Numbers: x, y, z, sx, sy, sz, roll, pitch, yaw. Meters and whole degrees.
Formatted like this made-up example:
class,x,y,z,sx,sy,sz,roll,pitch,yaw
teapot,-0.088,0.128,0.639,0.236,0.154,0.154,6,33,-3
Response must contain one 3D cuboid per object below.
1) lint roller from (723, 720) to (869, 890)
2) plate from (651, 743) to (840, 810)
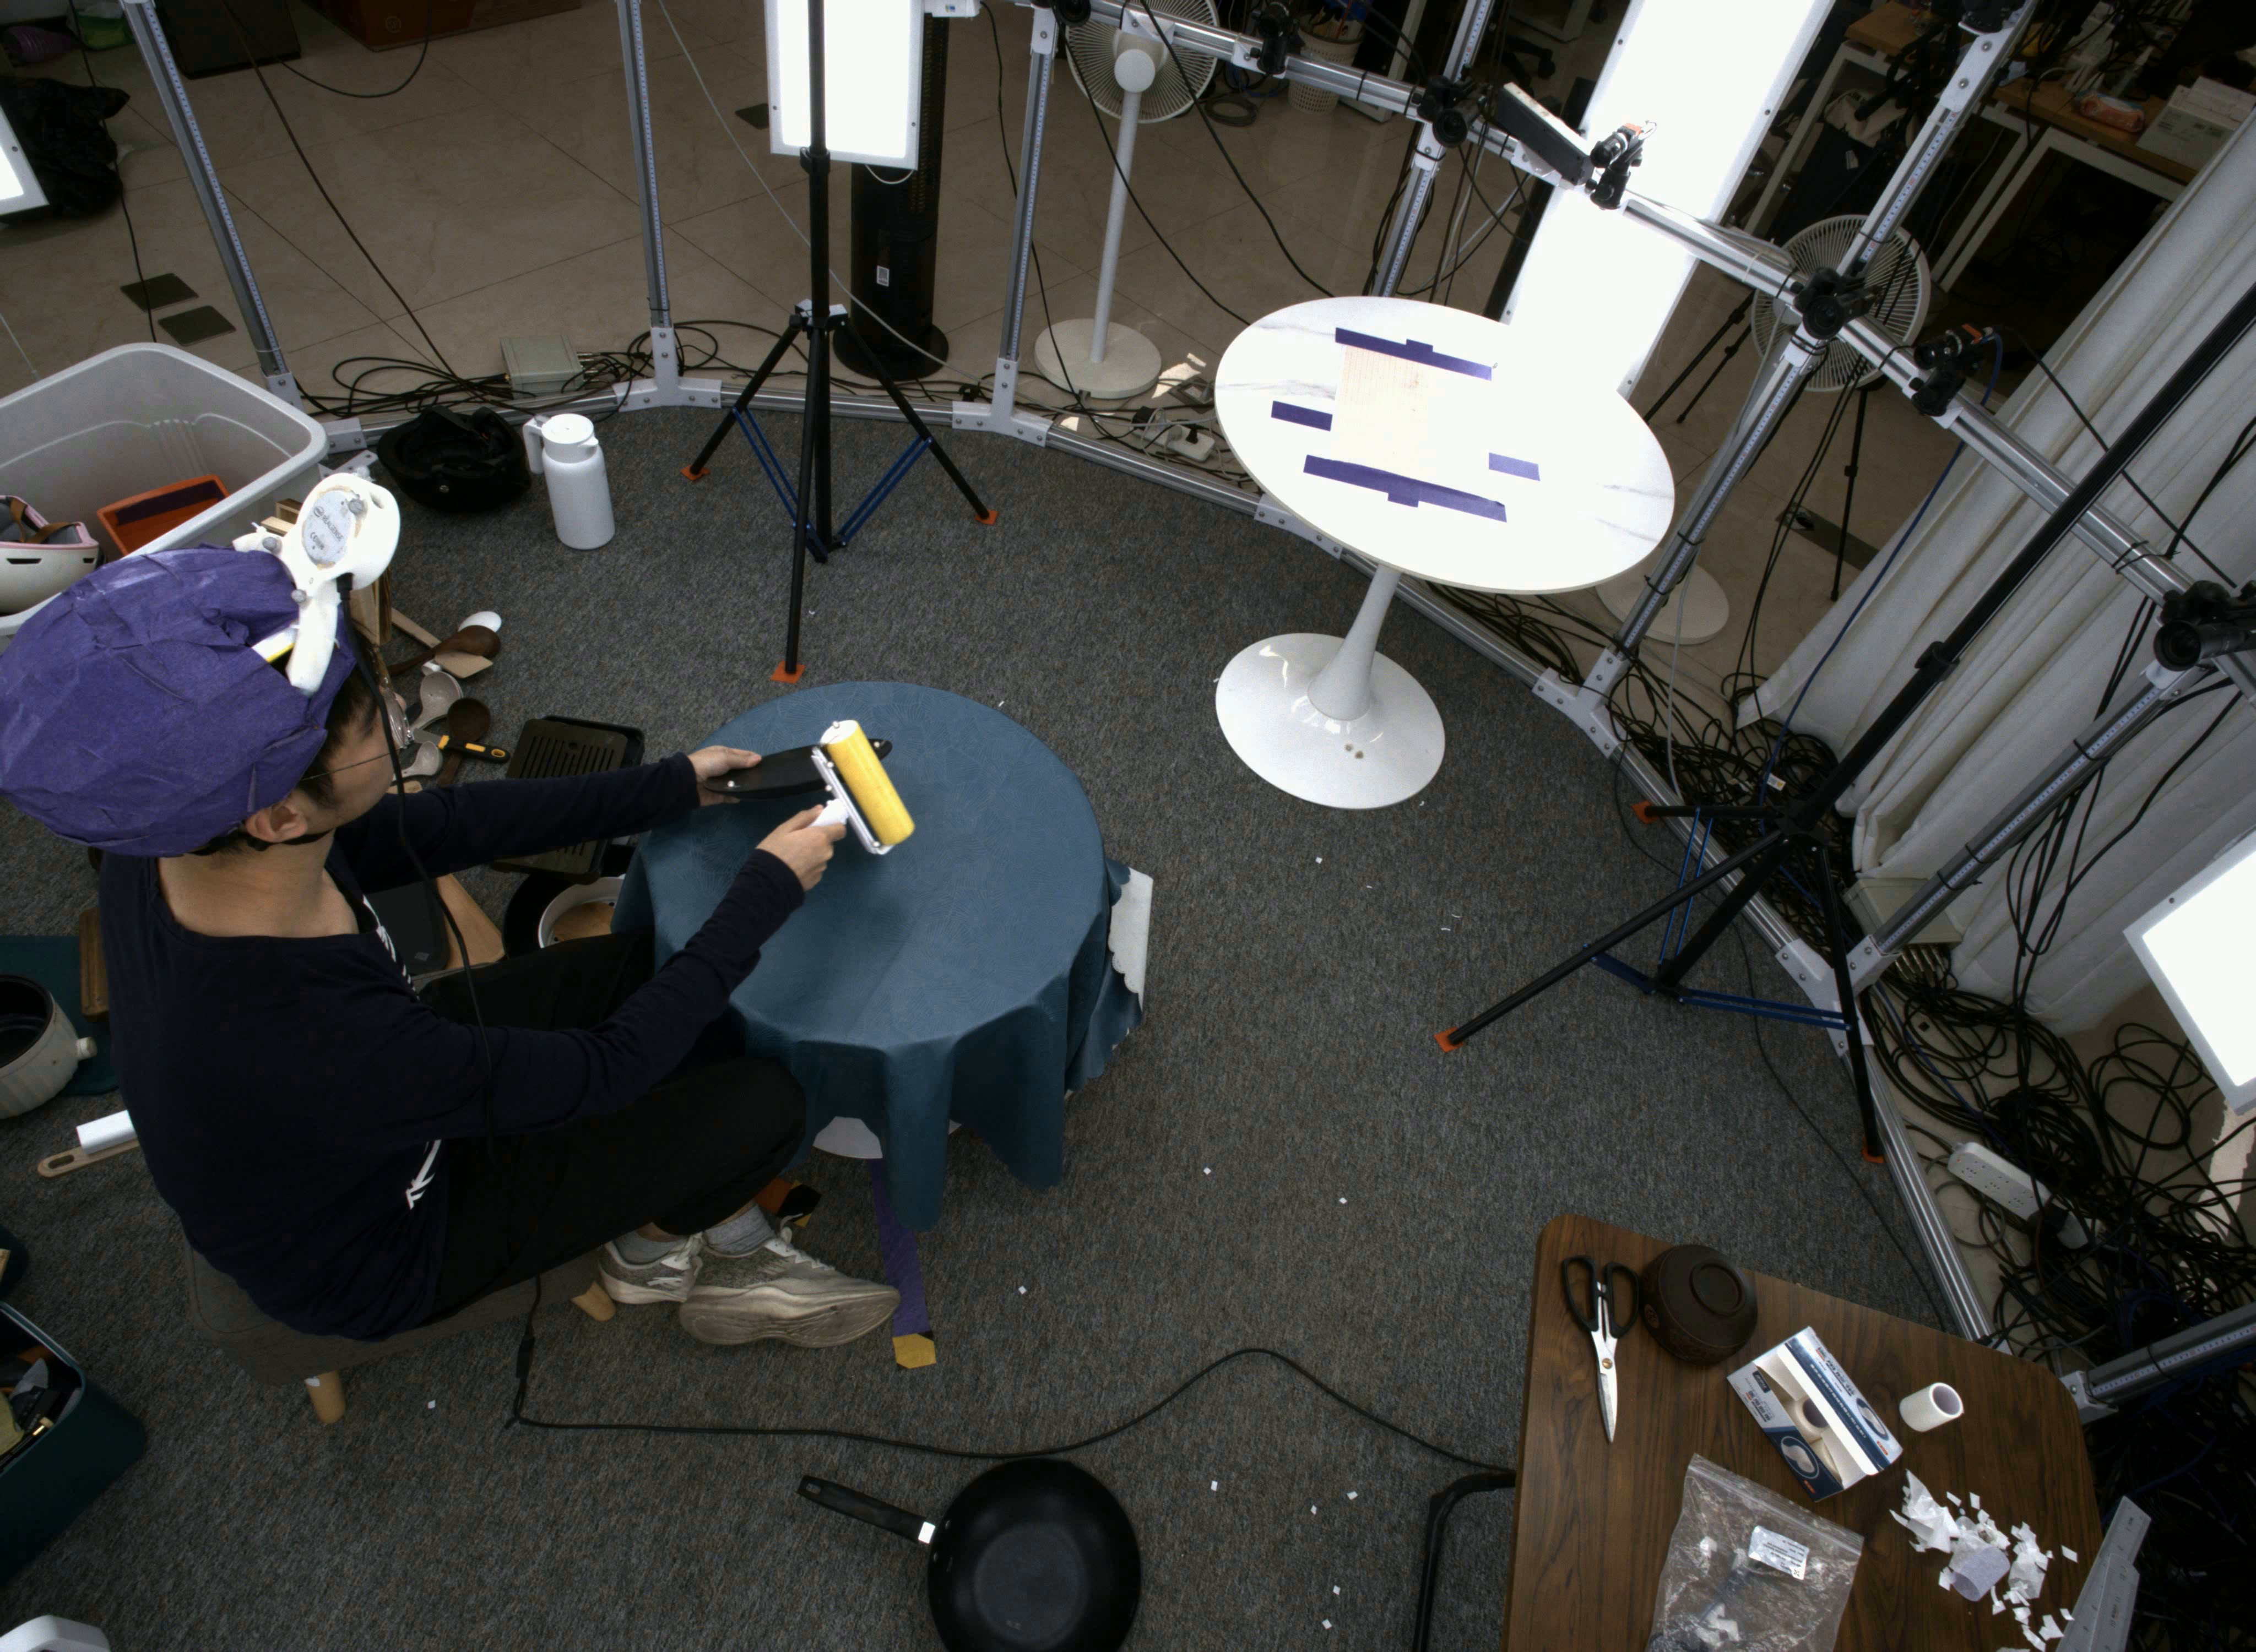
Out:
class,x,y,z,sx,sy,sz,roll,pitch,yaw
lint roller,-0.404,0.000,1.524,0.050,0.181,0.191,2,46,33
plate,-0.484,-0.062,1.645,0.241,0.024,0.241,-9,16,4
